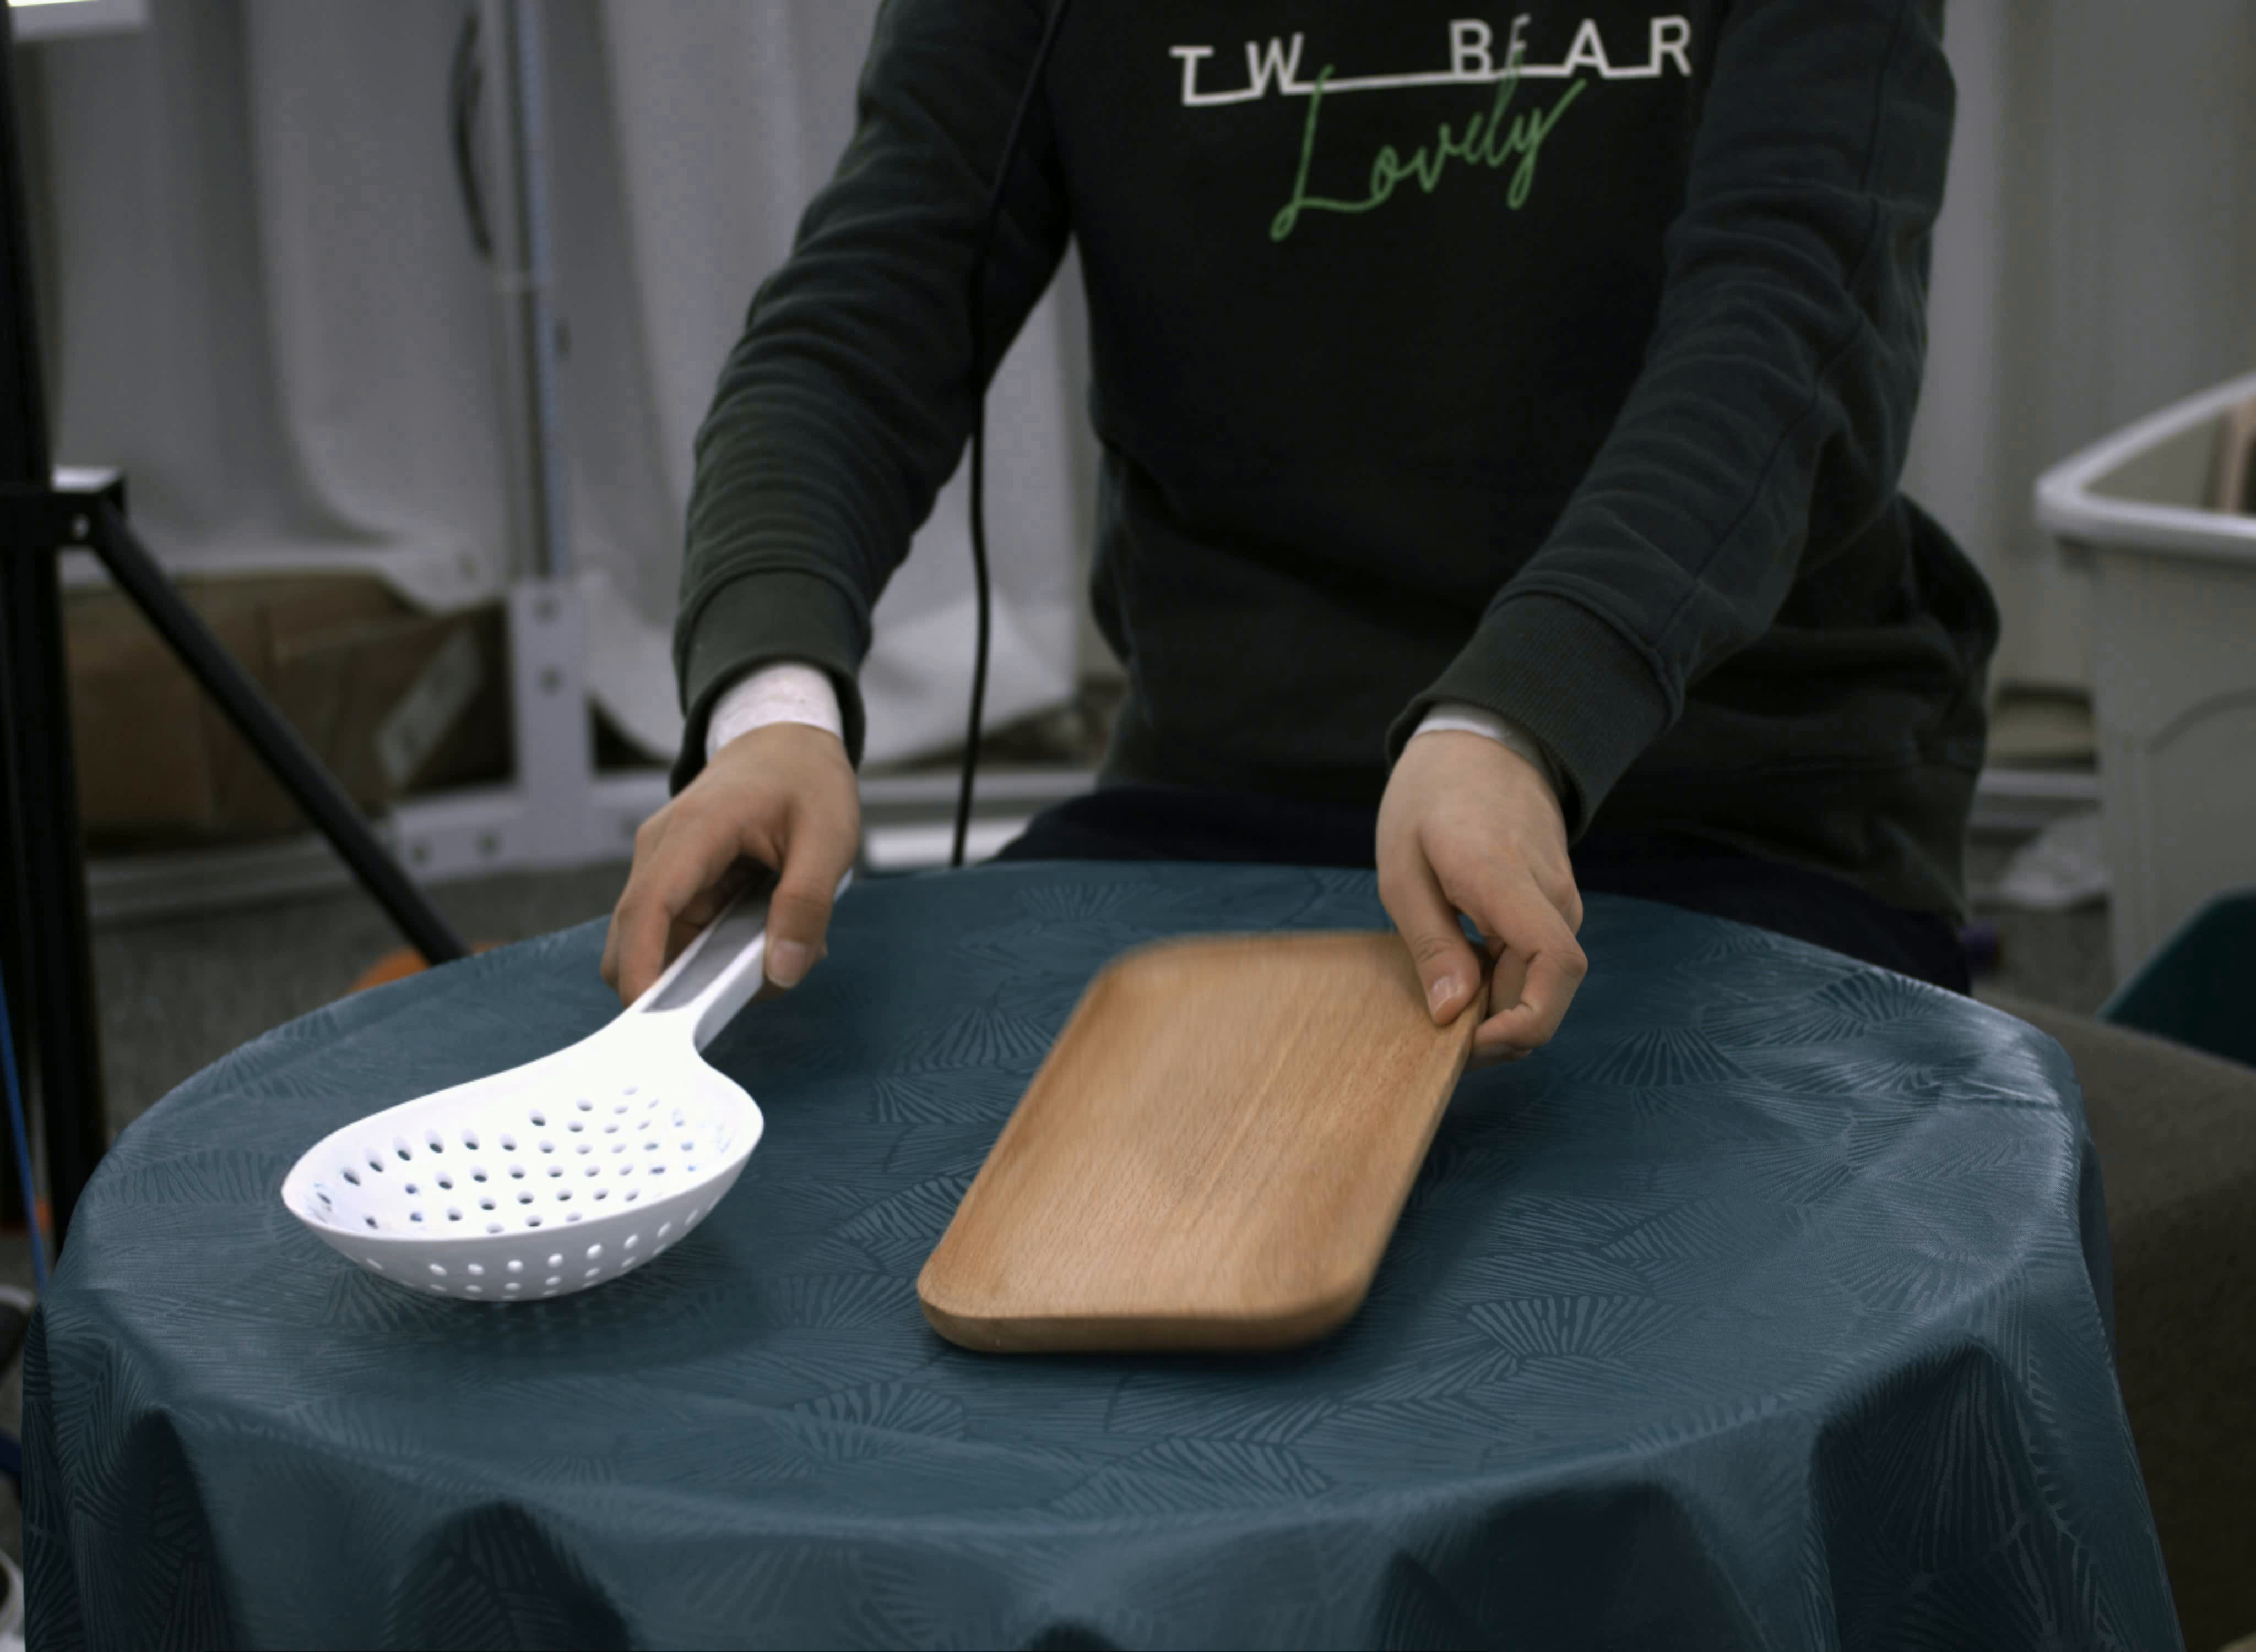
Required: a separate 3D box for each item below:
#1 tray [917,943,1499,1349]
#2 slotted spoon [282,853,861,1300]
[{"bbox_3d":[0.028,0.090,1.530,0.132,0.023,0.249,-4,18,18],"label":"tray"},{"bbox_3d":[-0.143,0.067,1.599,0.137,0.045,0.348,0,22,15],"label":"slotted spoon"}]
